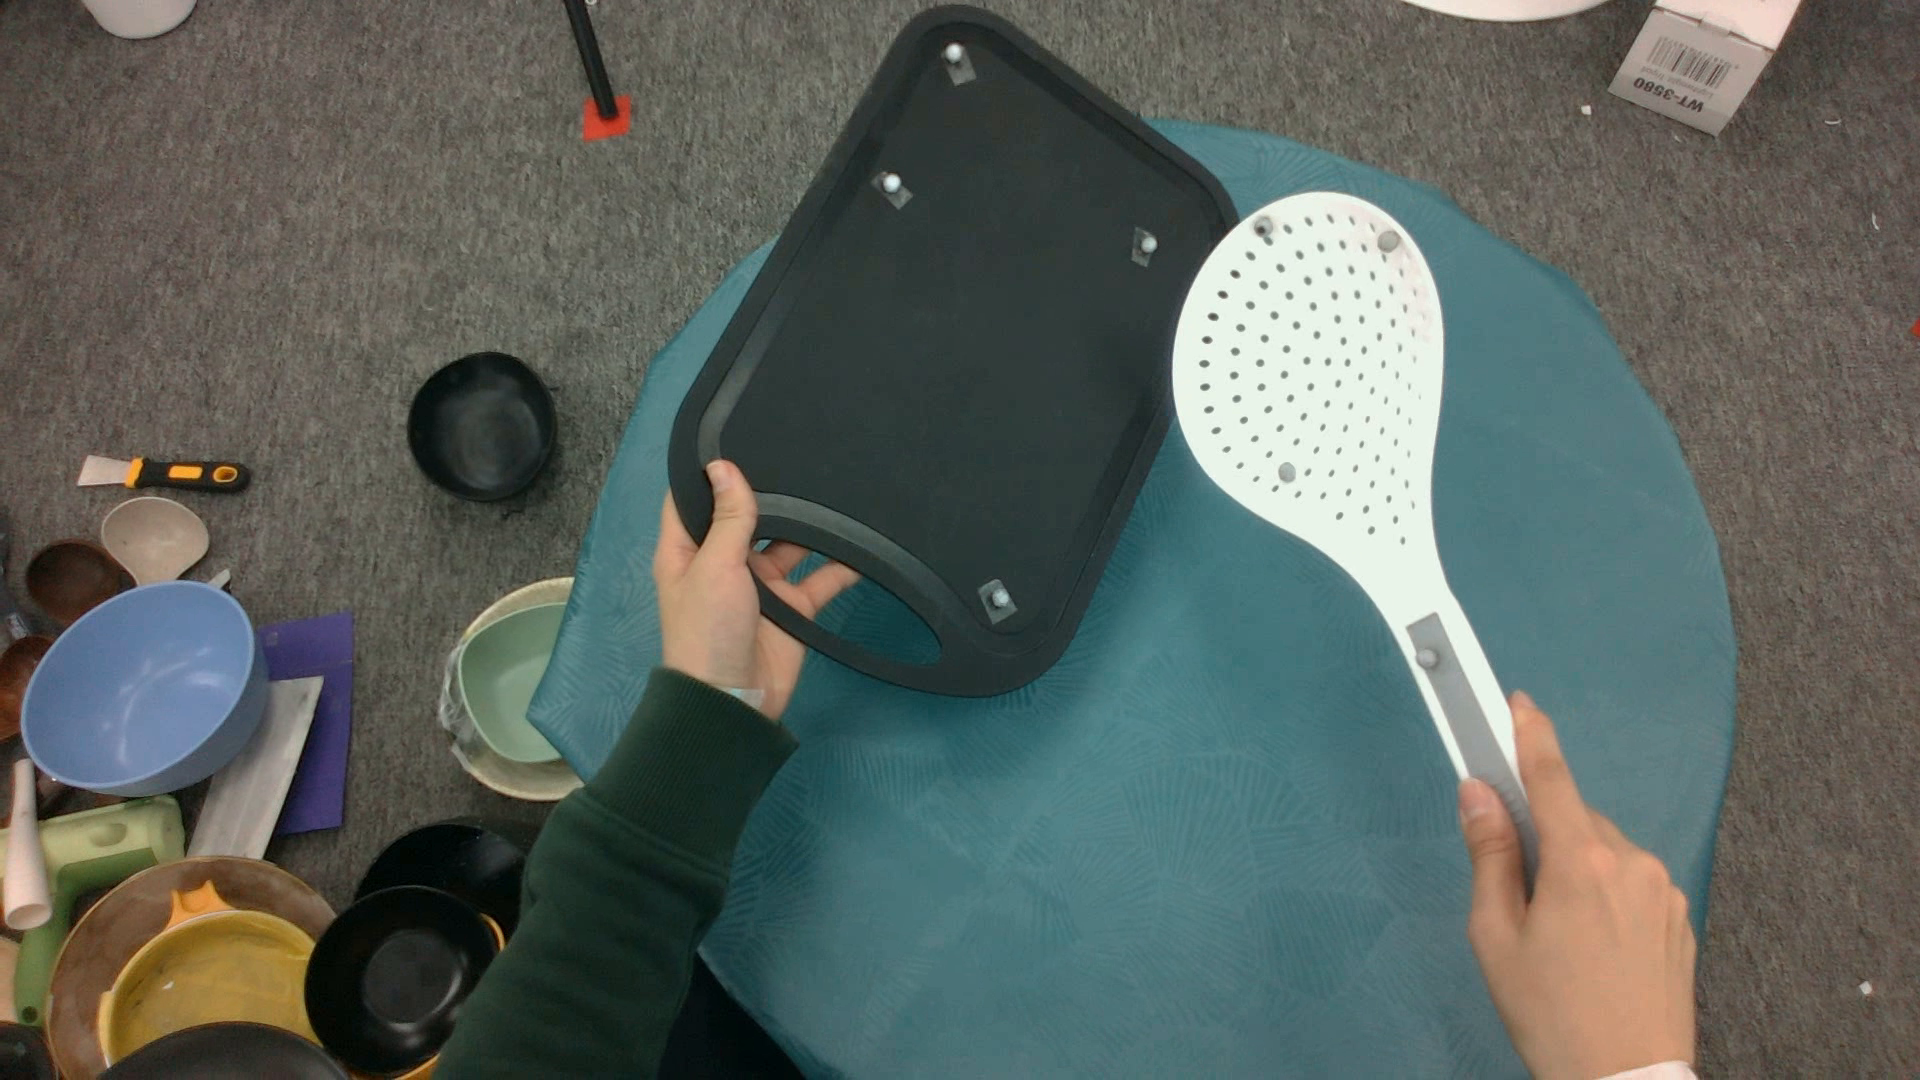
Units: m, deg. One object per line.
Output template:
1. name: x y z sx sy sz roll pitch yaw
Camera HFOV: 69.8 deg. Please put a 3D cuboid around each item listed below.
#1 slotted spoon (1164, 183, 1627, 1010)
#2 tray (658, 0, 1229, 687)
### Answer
1. slotted spoon: 0.177 0.012 0.558 0.046 0.135 0.350 3 60 -37
2. tray: 0.004 -0.094 0.650 0.211 0.010 0.326 32 71 -15
